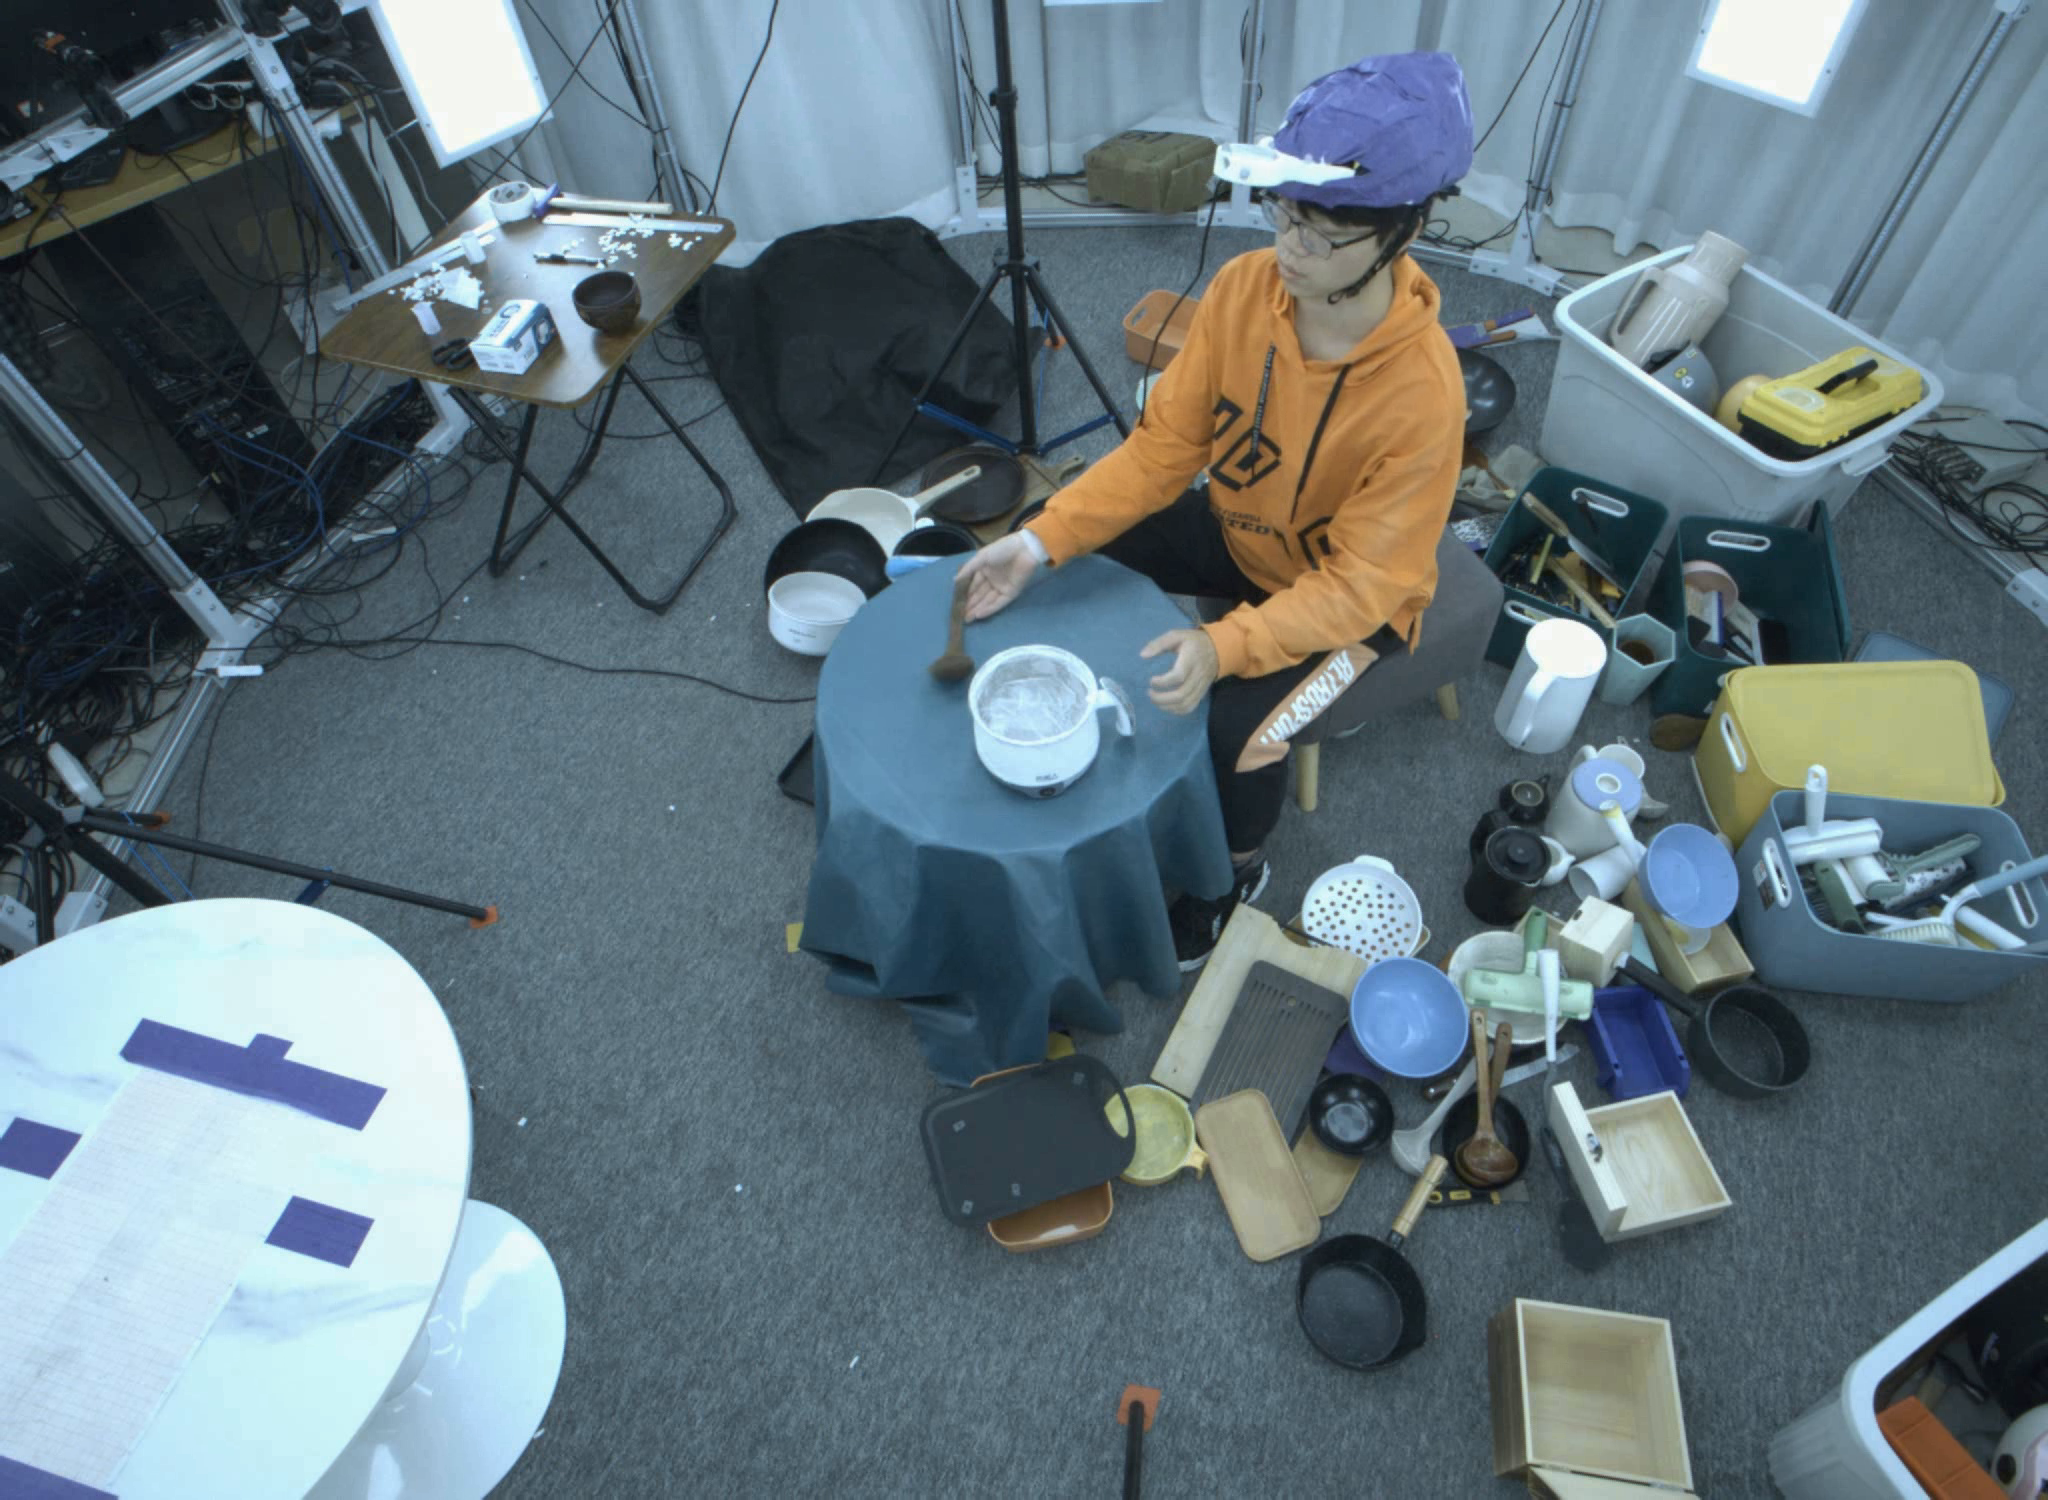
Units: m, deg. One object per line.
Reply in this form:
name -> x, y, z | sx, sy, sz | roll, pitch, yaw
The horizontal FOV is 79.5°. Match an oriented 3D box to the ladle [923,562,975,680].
ladle -> -0.106, -0.214, 1.899 | 0.076, 0.072, 0.272 | 3, 56, 4

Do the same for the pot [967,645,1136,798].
pot -> 0.043, -0.045, 1.733 | 0.234, 0.138, 0.176 | -11, 55, -4
